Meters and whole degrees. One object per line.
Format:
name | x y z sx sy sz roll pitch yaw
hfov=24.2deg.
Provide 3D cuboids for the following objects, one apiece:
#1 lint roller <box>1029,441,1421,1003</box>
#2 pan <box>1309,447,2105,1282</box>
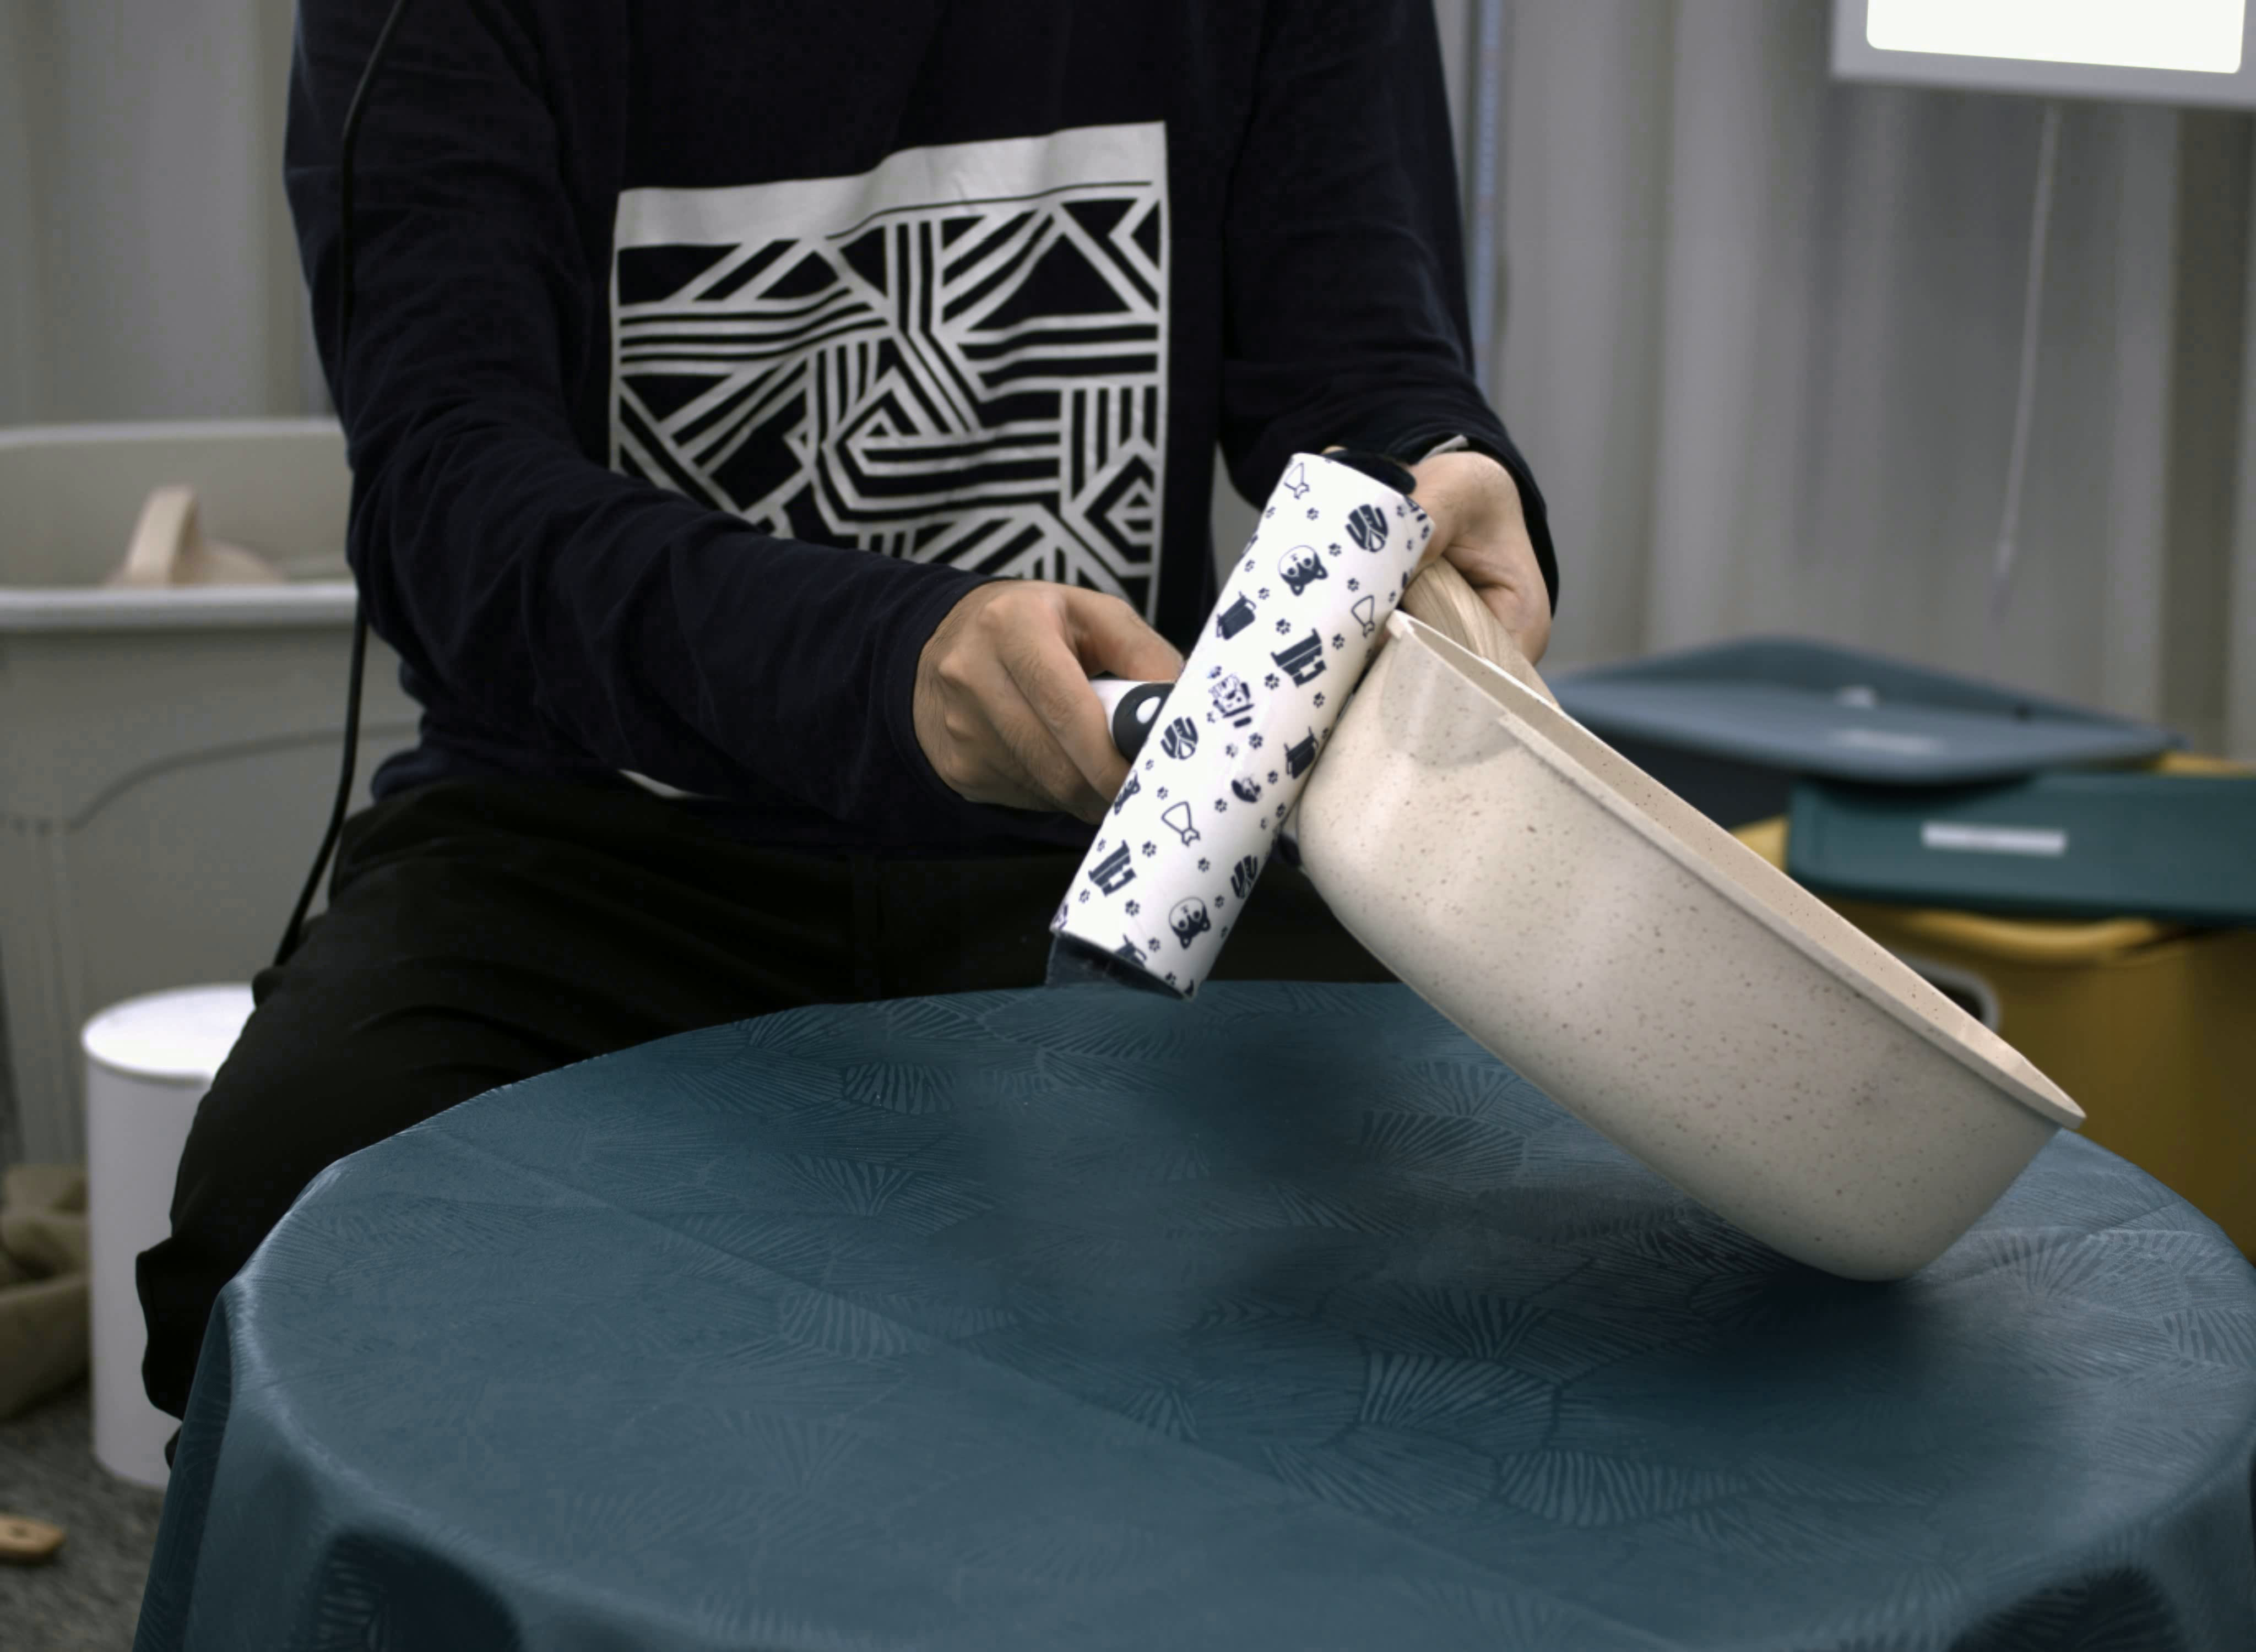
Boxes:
lint roller | 0.003 -0.030 1.644 0.050 0.176 0.245 28 -8 -16
pan | 0.129 0.001 1.623 0.266 0.102 0.429 30 9 -33
